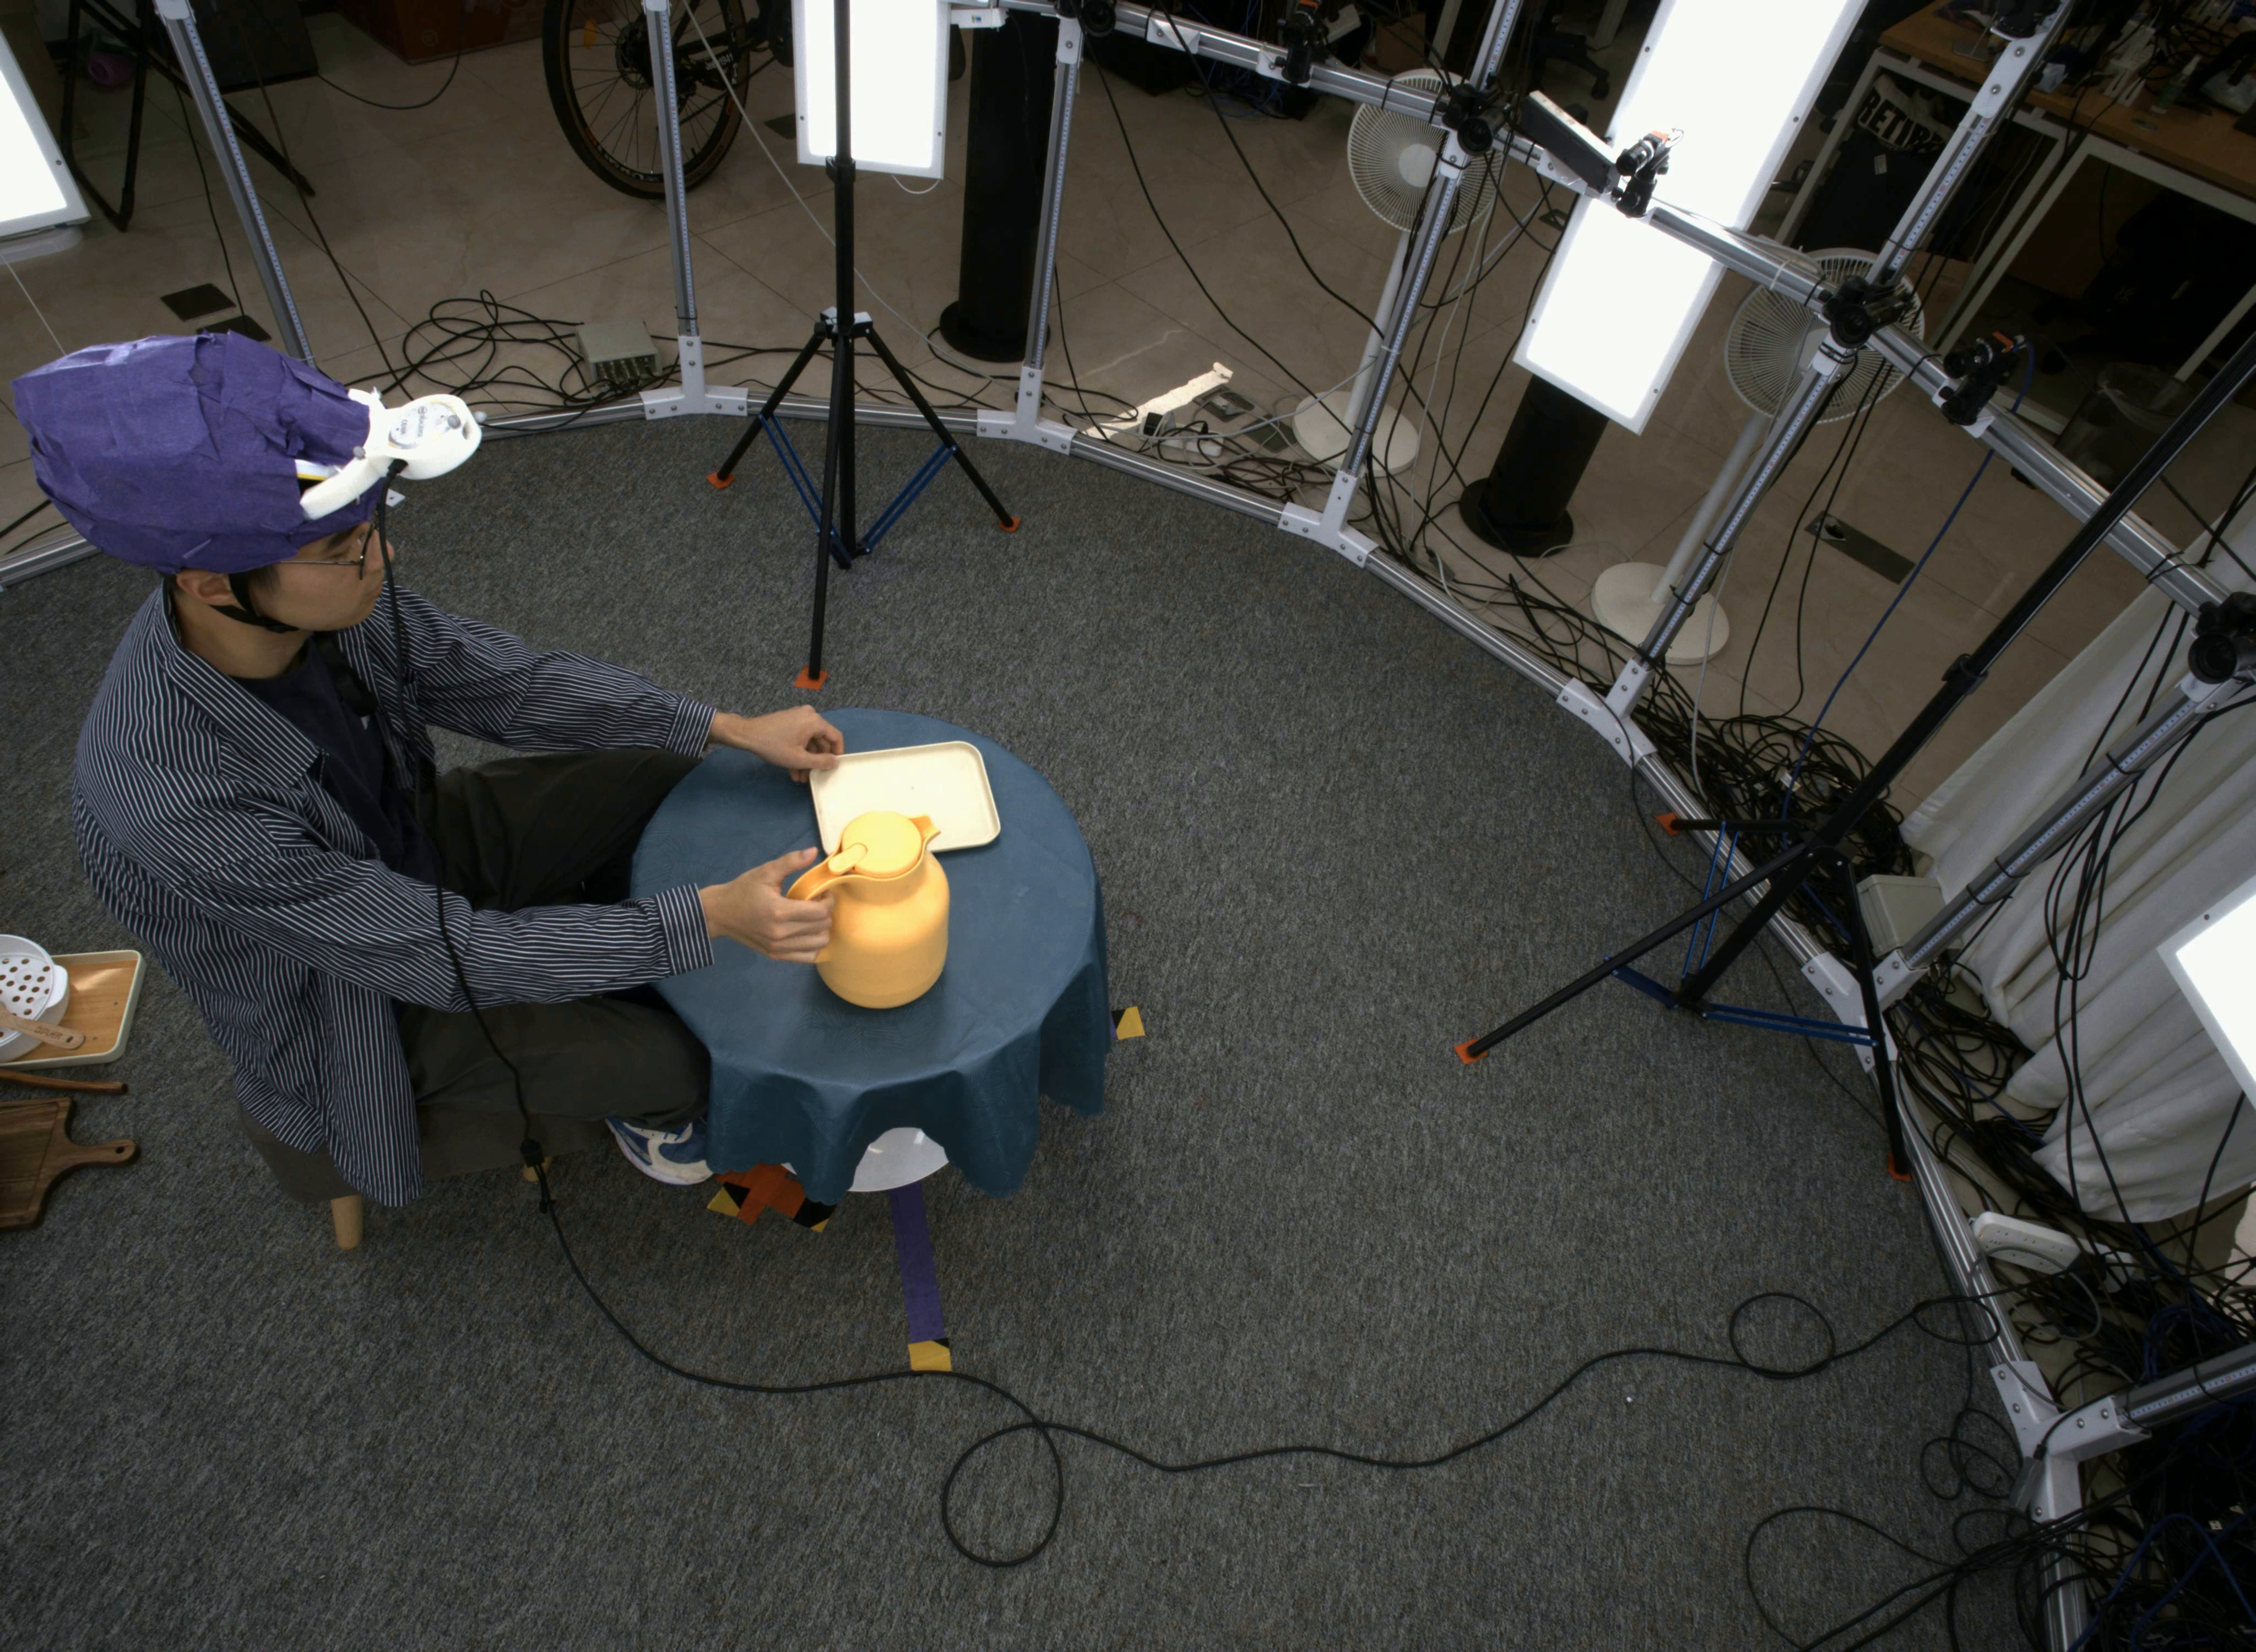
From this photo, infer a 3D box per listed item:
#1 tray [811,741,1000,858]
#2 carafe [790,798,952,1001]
[{"bbox_3d":[-0.303,-0.031,1.771,0.240,0.018,0.168,-8,62,-20],"label":"tray"},{"bbox_3d":[-0.305,0.088,1.538,0.203,0.266,0.159,-31,62,-30],"label":"carafe"}]
